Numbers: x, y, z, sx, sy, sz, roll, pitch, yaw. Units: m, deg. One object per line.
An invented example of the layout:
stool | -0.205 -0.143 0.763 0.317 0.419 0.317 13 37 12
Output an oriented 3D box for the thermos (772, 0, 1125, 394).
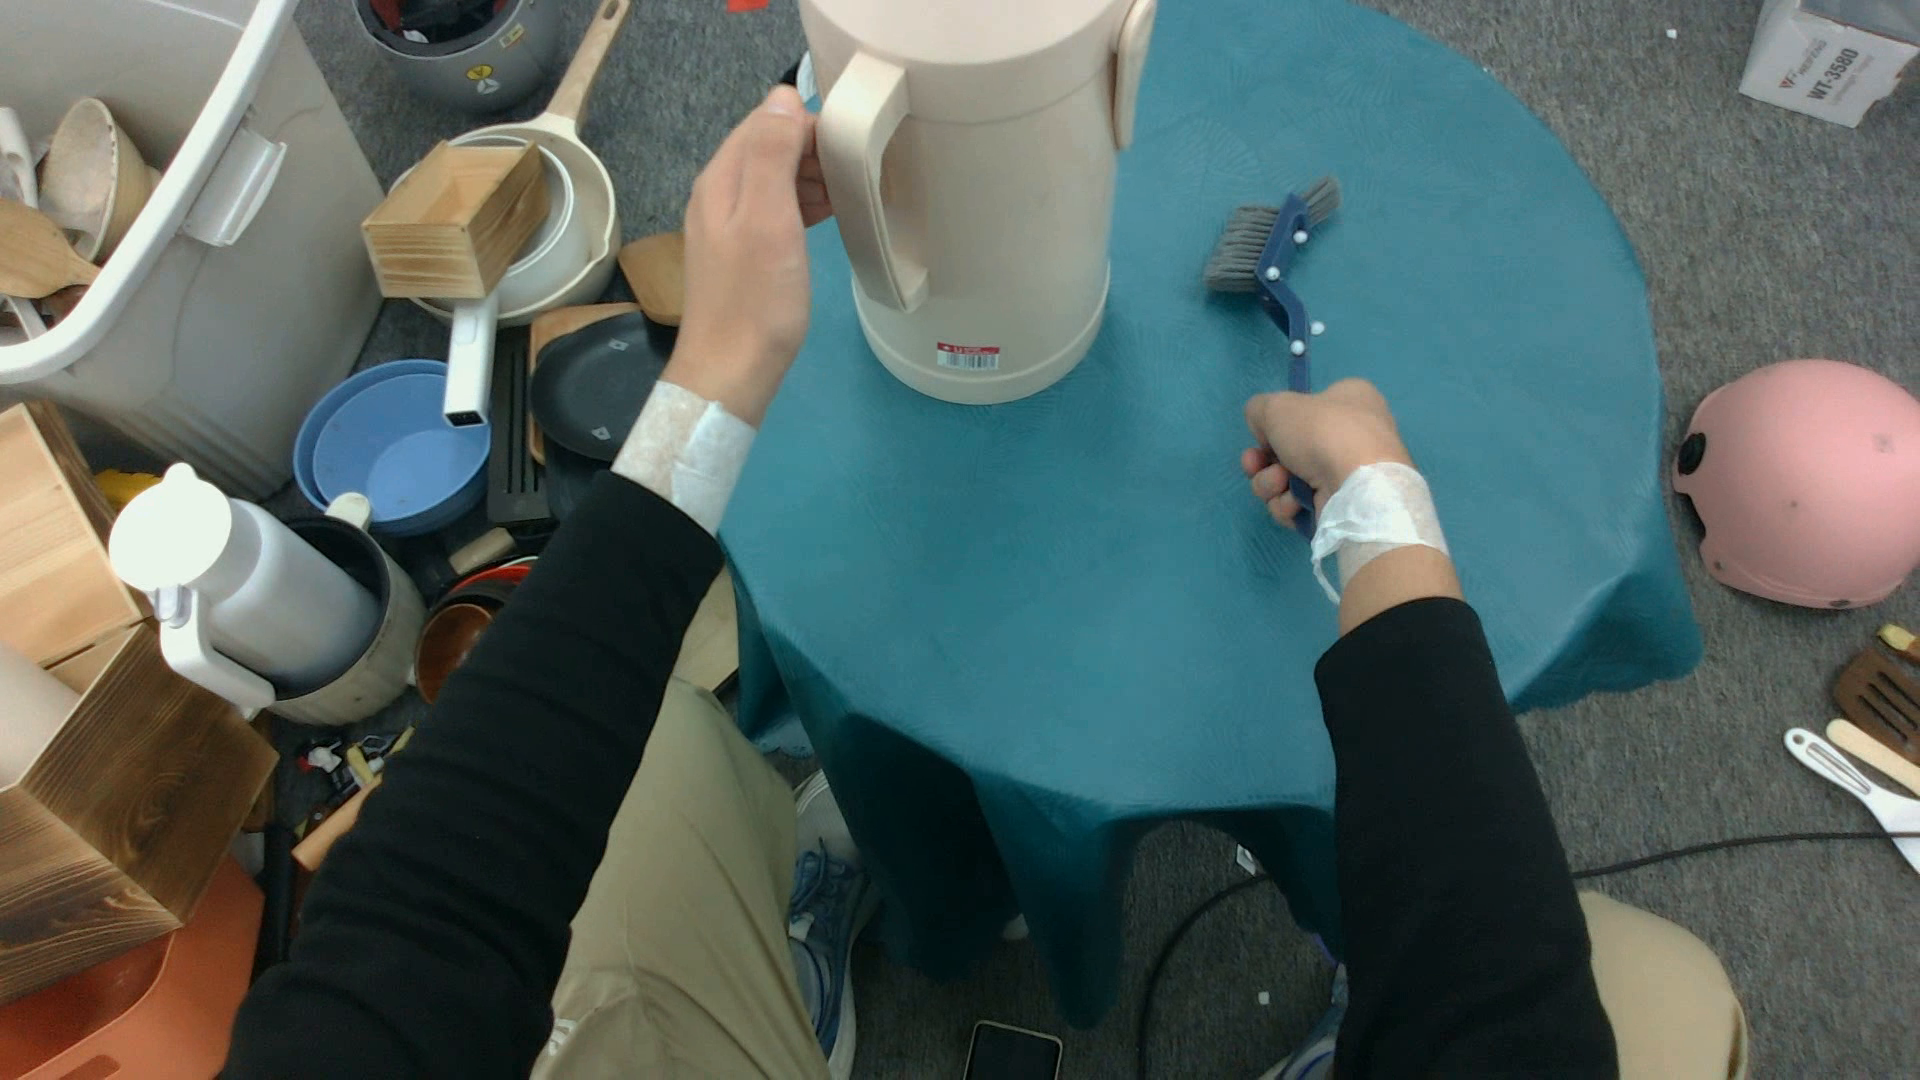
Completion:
thermos | -0.015 -0.225 0.688 0.175 0.405 0.208 24 70 10

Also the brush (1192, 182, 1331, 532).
brush | 0.192 -0.118 0.795 0.095 0.033 0.274 -8 47 7
